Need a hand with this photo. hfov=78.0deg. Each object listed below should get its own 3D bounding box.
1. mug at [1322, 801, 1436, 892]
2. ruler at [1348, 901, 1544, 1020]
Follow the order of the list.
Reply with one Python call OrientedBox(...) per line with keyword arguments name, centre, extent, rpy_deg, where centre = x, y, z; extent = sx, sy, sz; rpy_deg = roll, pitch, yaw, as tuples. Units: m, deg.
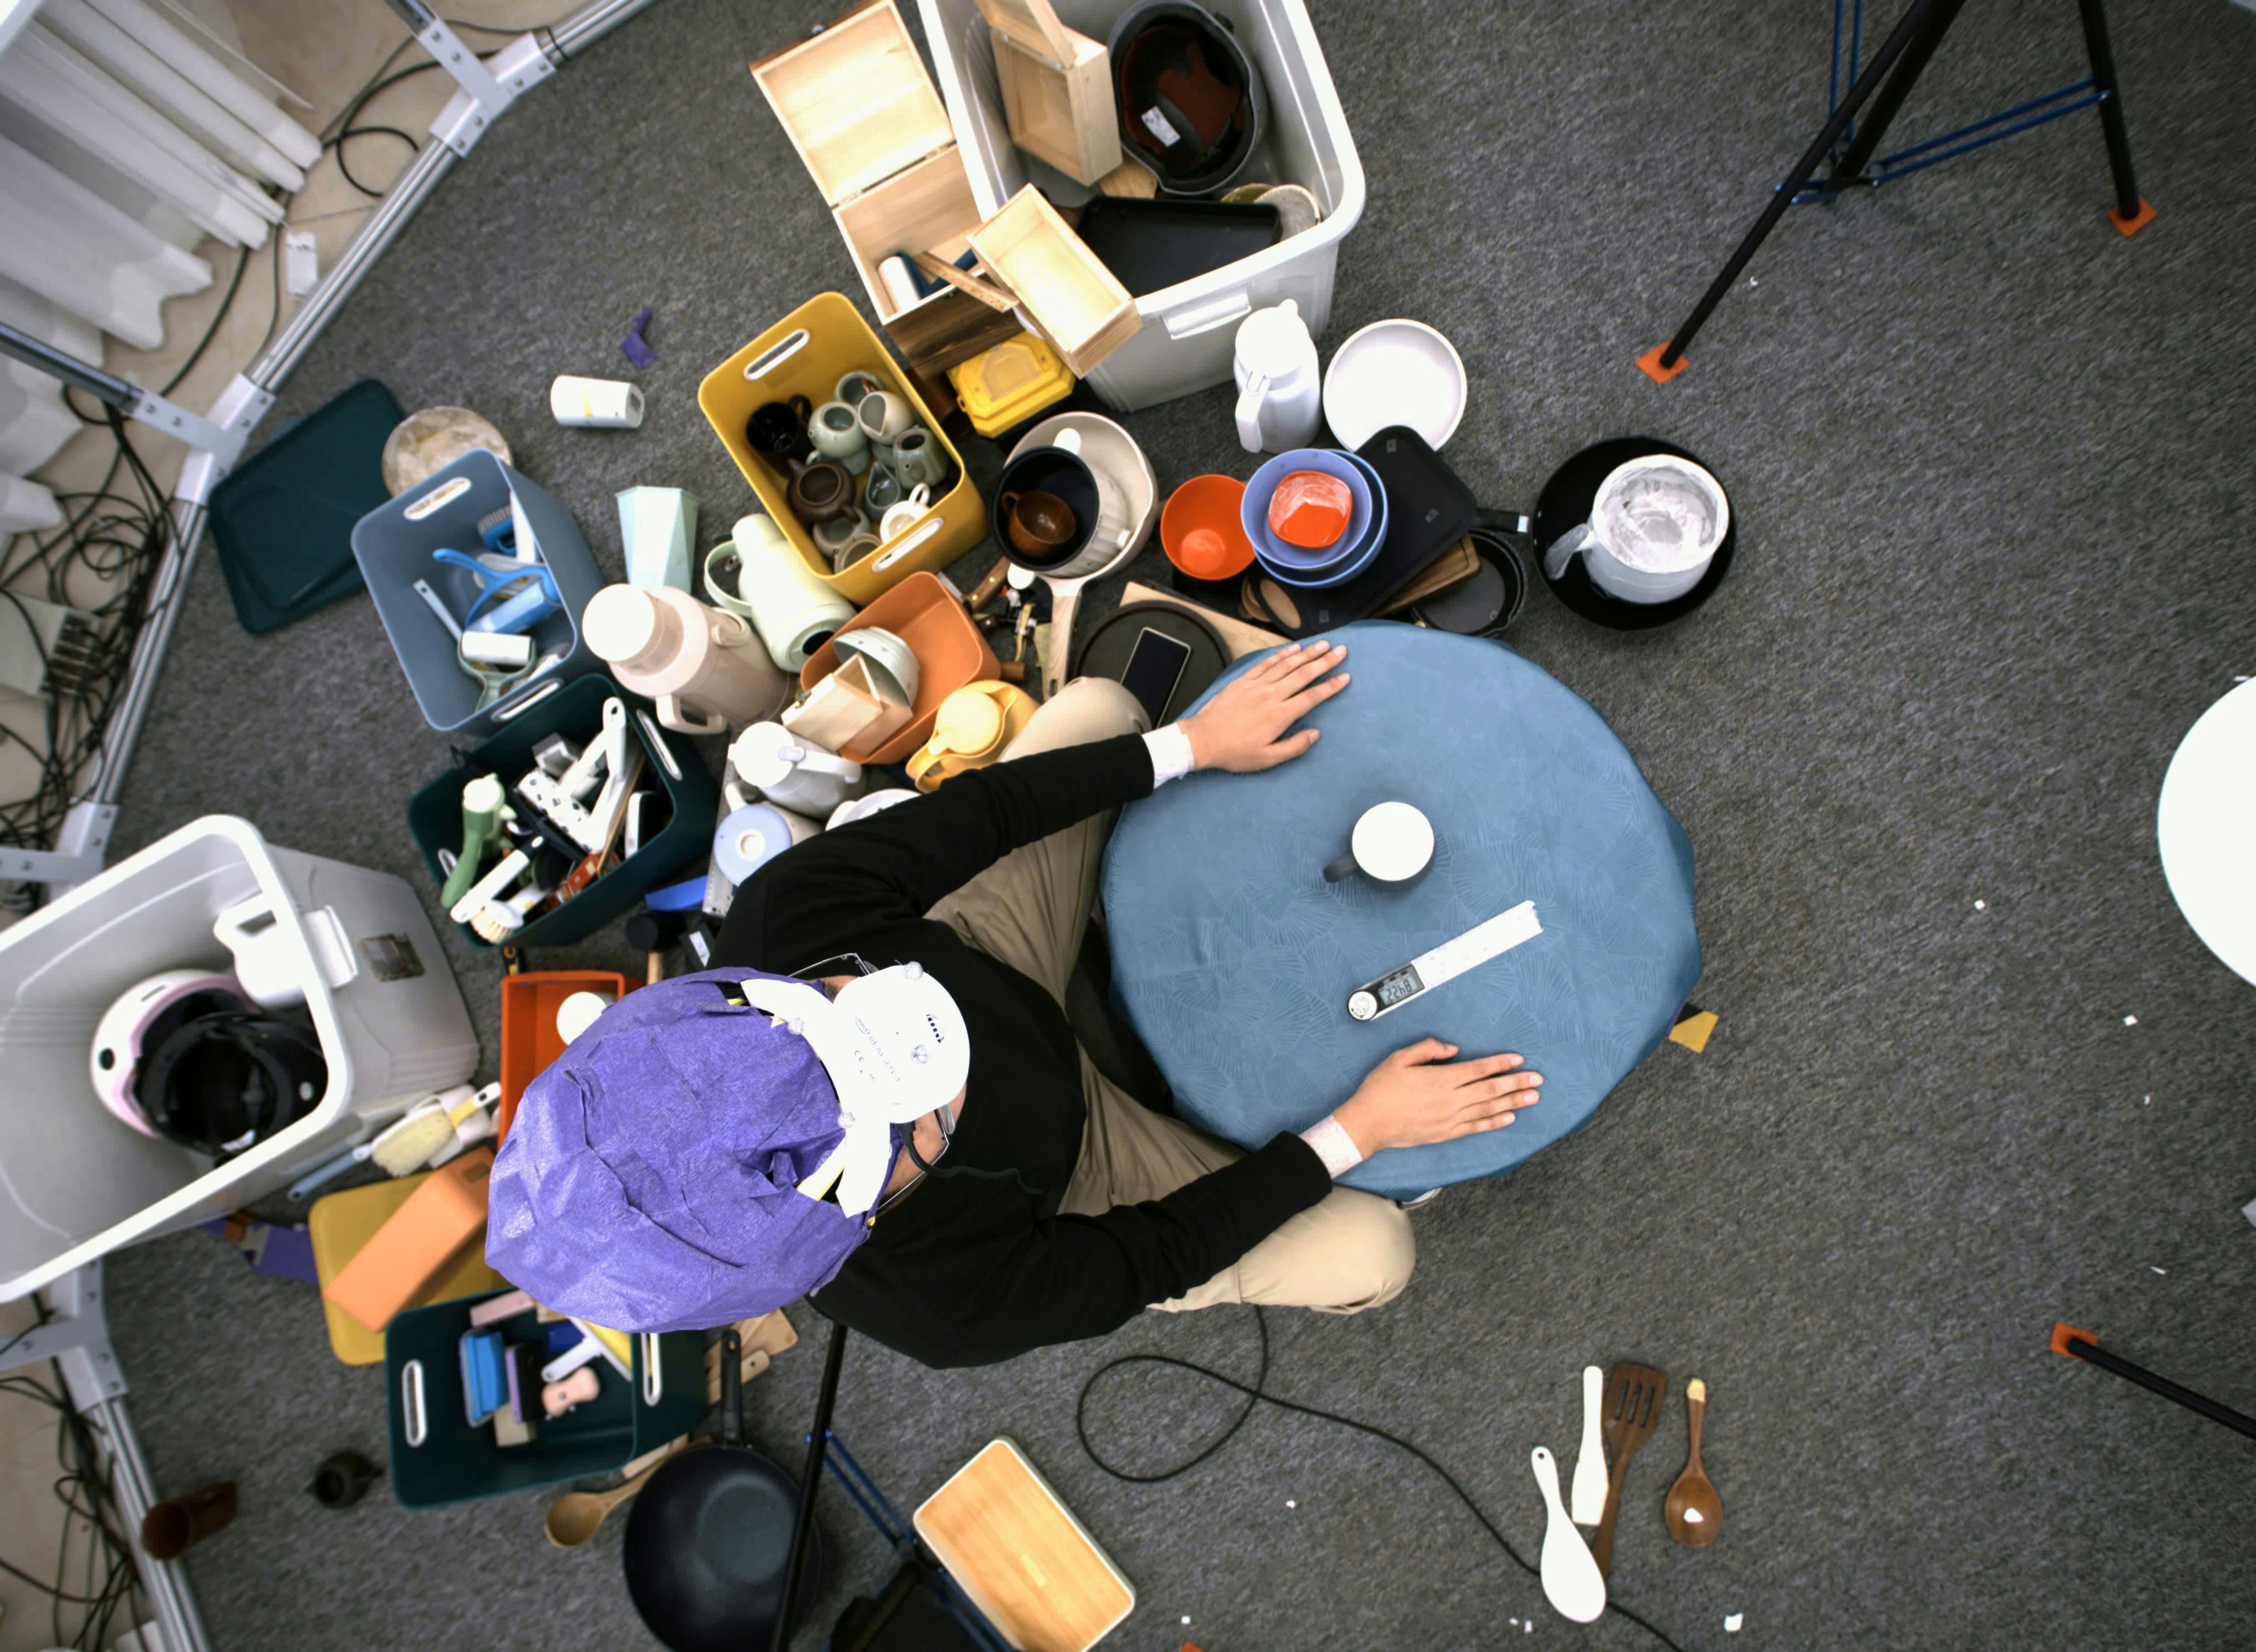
OrientedBox(name="mug", centre=(0.257, 0.024, 1.418), extent=(0.124, 0.090, 0.093), rpy_deg=(-24, 81, 7))
OrientedBox(name="ruler", centre=(0.328, 0.142, 1.434), extent=(0.219, 0.024, 0.038), rpy_deg=(-29, 88, 9))
